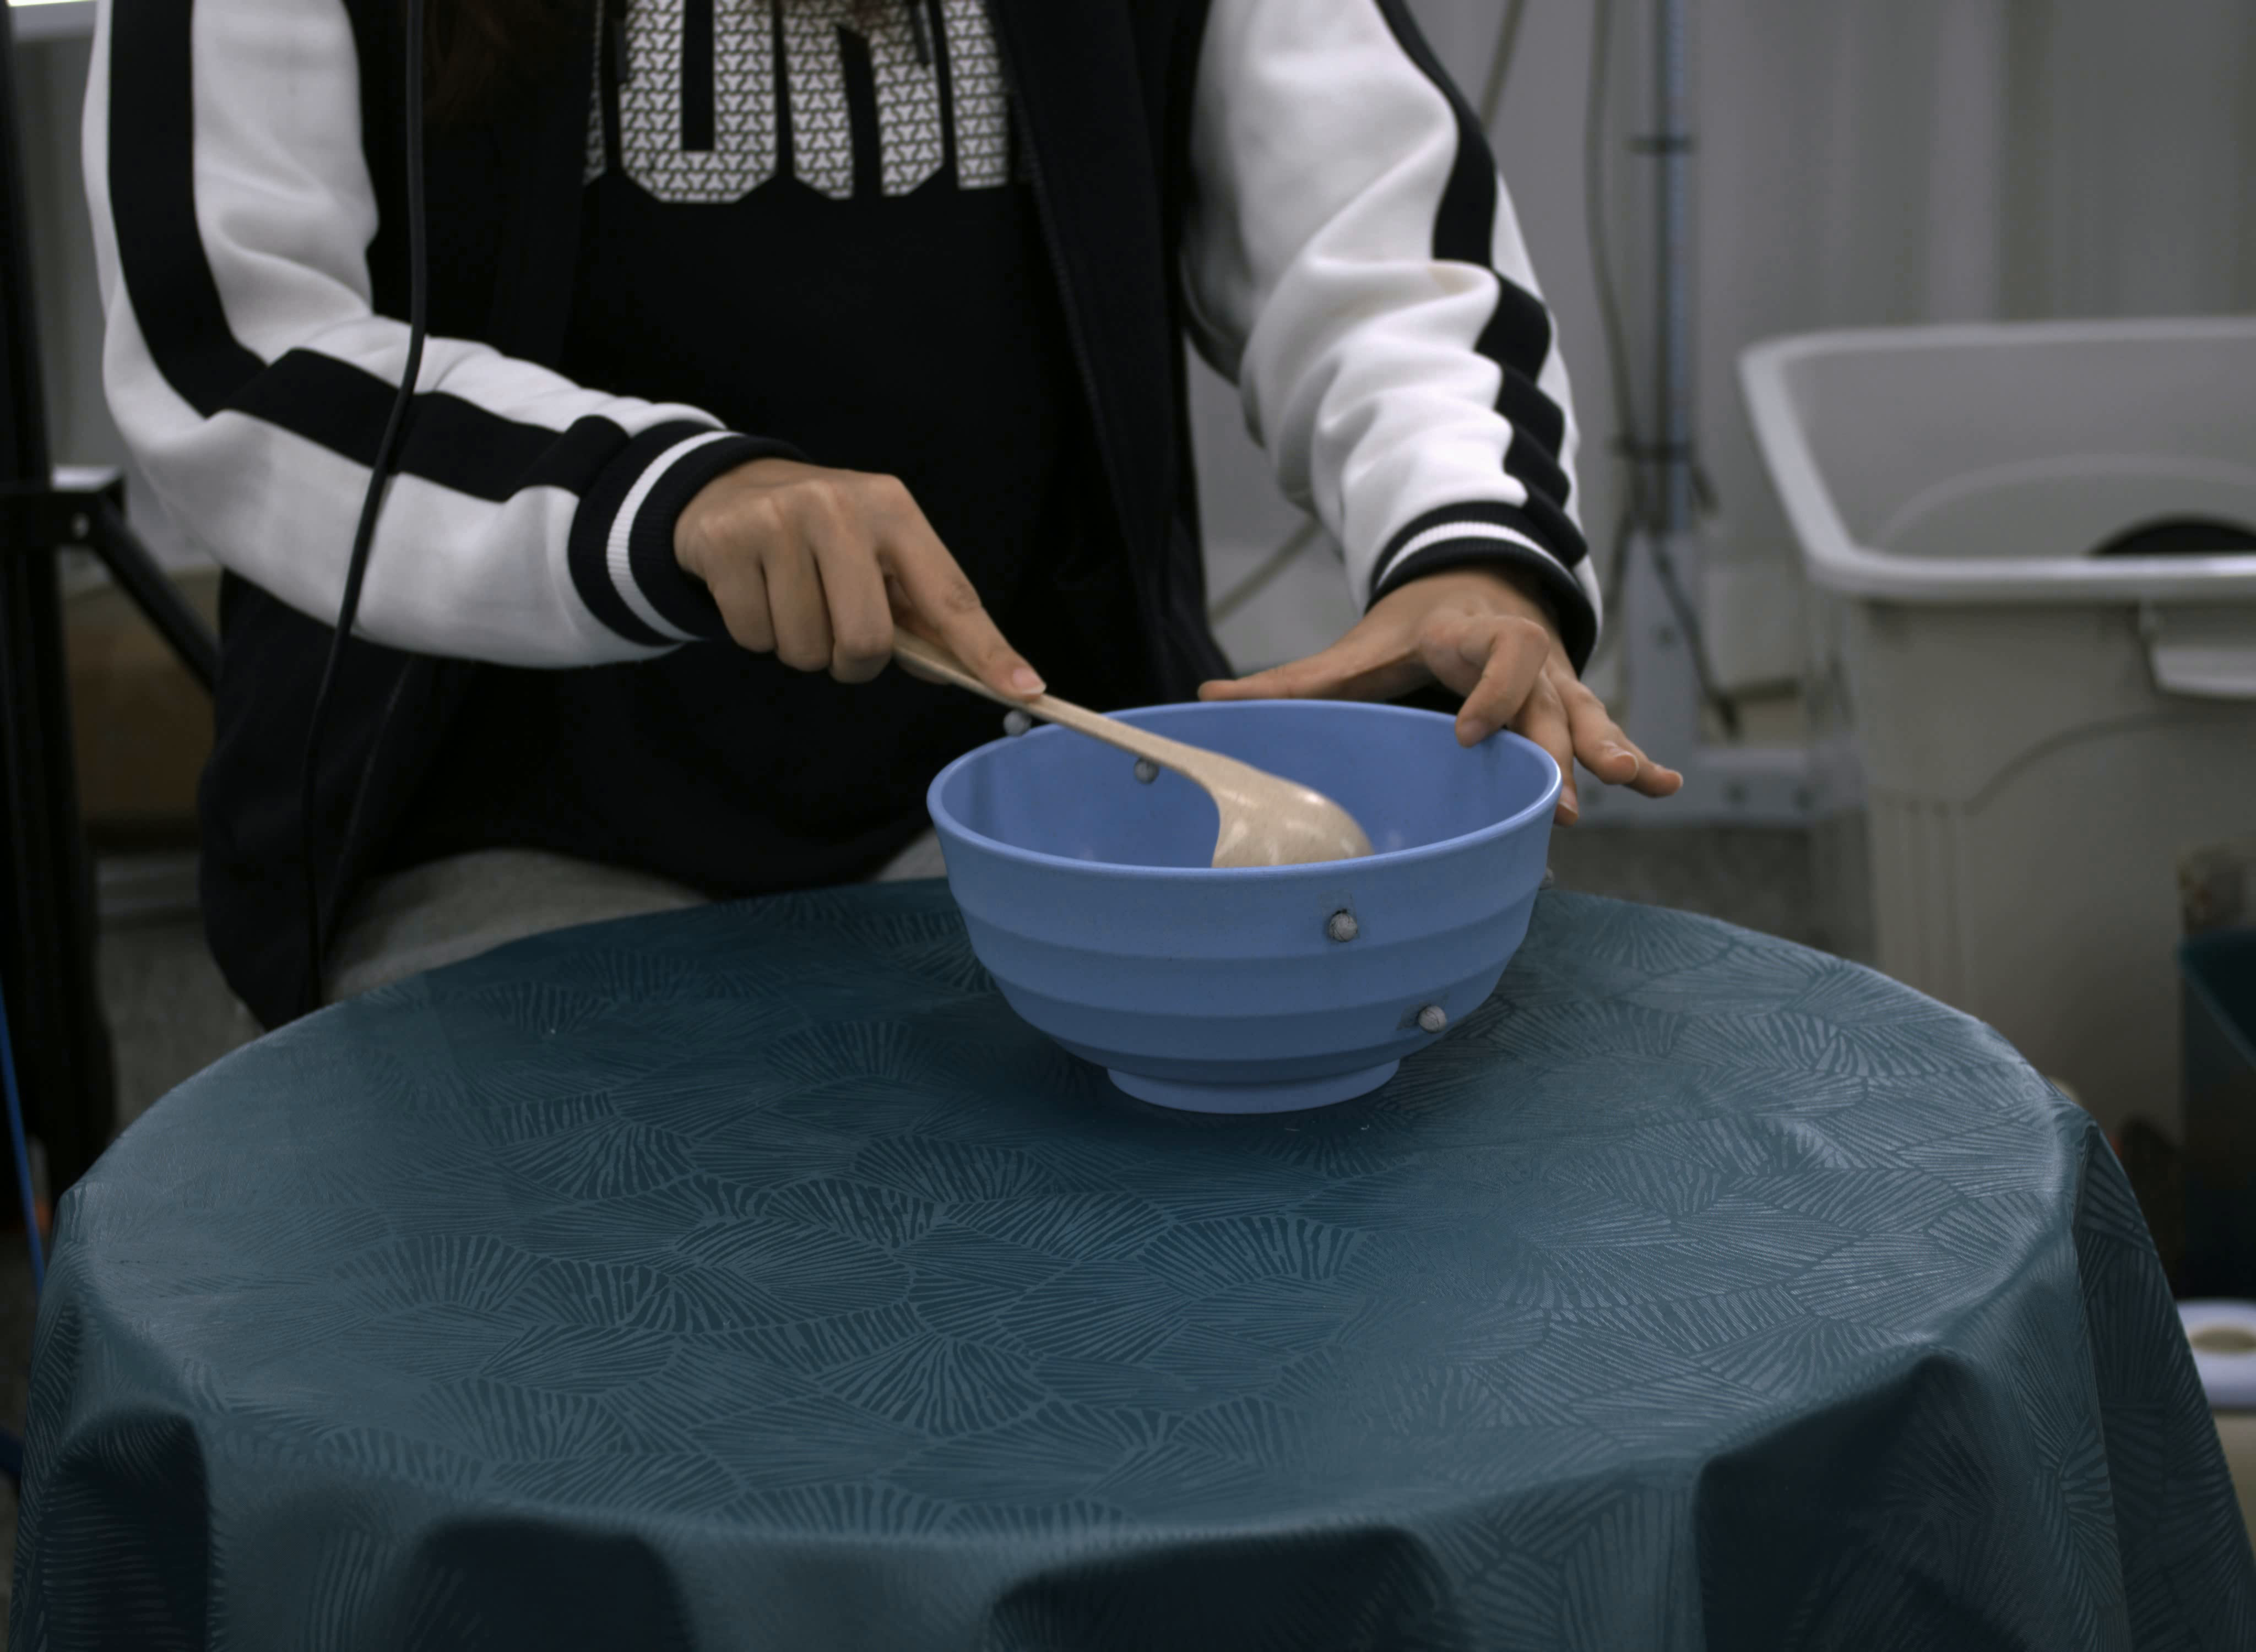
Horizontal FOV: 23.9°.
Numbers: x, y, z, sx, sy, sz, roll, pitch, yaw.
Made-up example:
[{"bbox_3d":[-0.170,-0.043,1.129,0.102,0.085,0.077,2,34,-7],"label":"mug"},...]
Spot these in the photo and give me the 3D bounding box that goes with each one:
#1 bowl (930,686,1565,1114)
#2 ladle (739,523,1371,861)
[{"bbox_3d":[0.037,0.029,1.652,0.195,0.095,0.197,-1,18,-1],"label":"bowl"},{"bbox_3d":[-0.032,-0.014,1.697,0.259,0.073,0.070,28,30,29],"label":"ladle"}]
